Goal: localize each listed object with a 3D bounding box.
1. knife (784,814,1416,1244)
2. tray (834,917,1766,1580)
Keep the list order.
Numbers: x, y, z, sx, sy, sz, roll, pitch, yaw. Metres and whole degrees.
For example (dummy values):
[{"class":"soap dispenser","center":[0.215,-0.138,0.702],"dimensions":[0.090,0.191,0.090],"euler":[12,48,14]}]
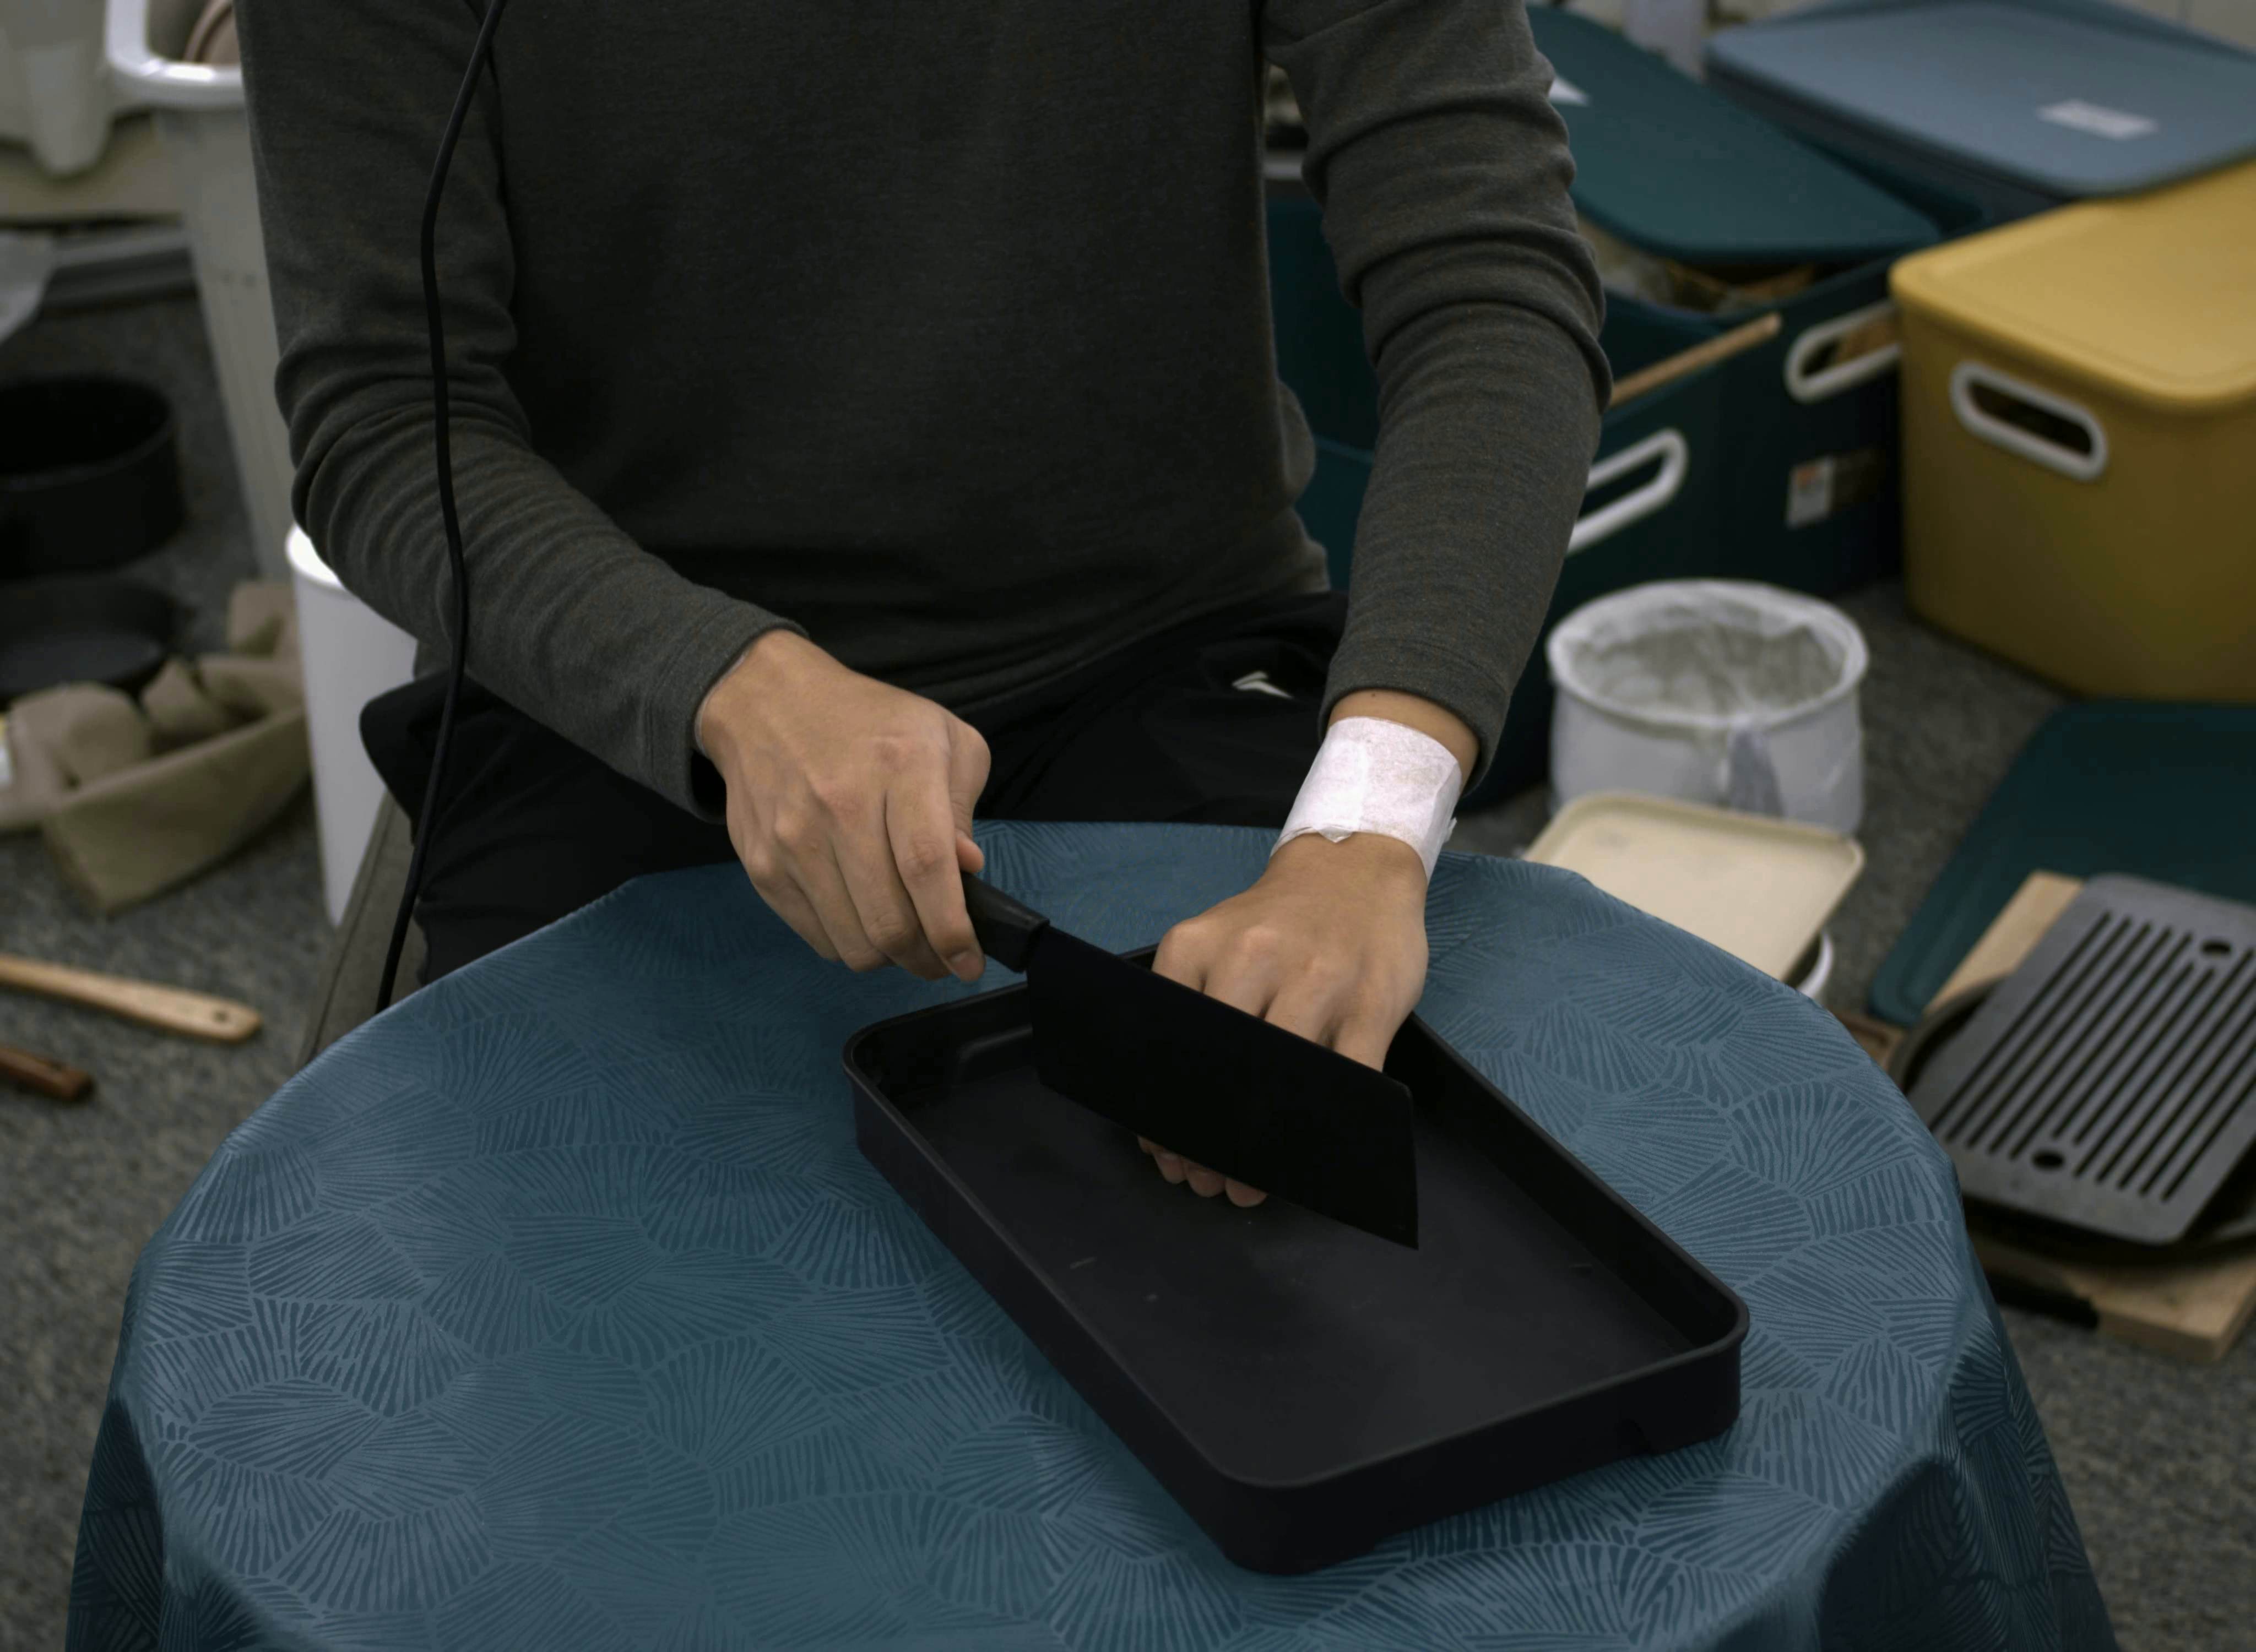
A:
[{"class":"knife","center":[-0.012,0.061,1.849],"dimensions":[0.021,0.080,0.302],"euler":[-23,36,-37]},{"class":"tray","center":[0.049,0.128,1.804],"dimensions":[0.185,0.036,0.319],"euler":[-16,30,-24]}]
